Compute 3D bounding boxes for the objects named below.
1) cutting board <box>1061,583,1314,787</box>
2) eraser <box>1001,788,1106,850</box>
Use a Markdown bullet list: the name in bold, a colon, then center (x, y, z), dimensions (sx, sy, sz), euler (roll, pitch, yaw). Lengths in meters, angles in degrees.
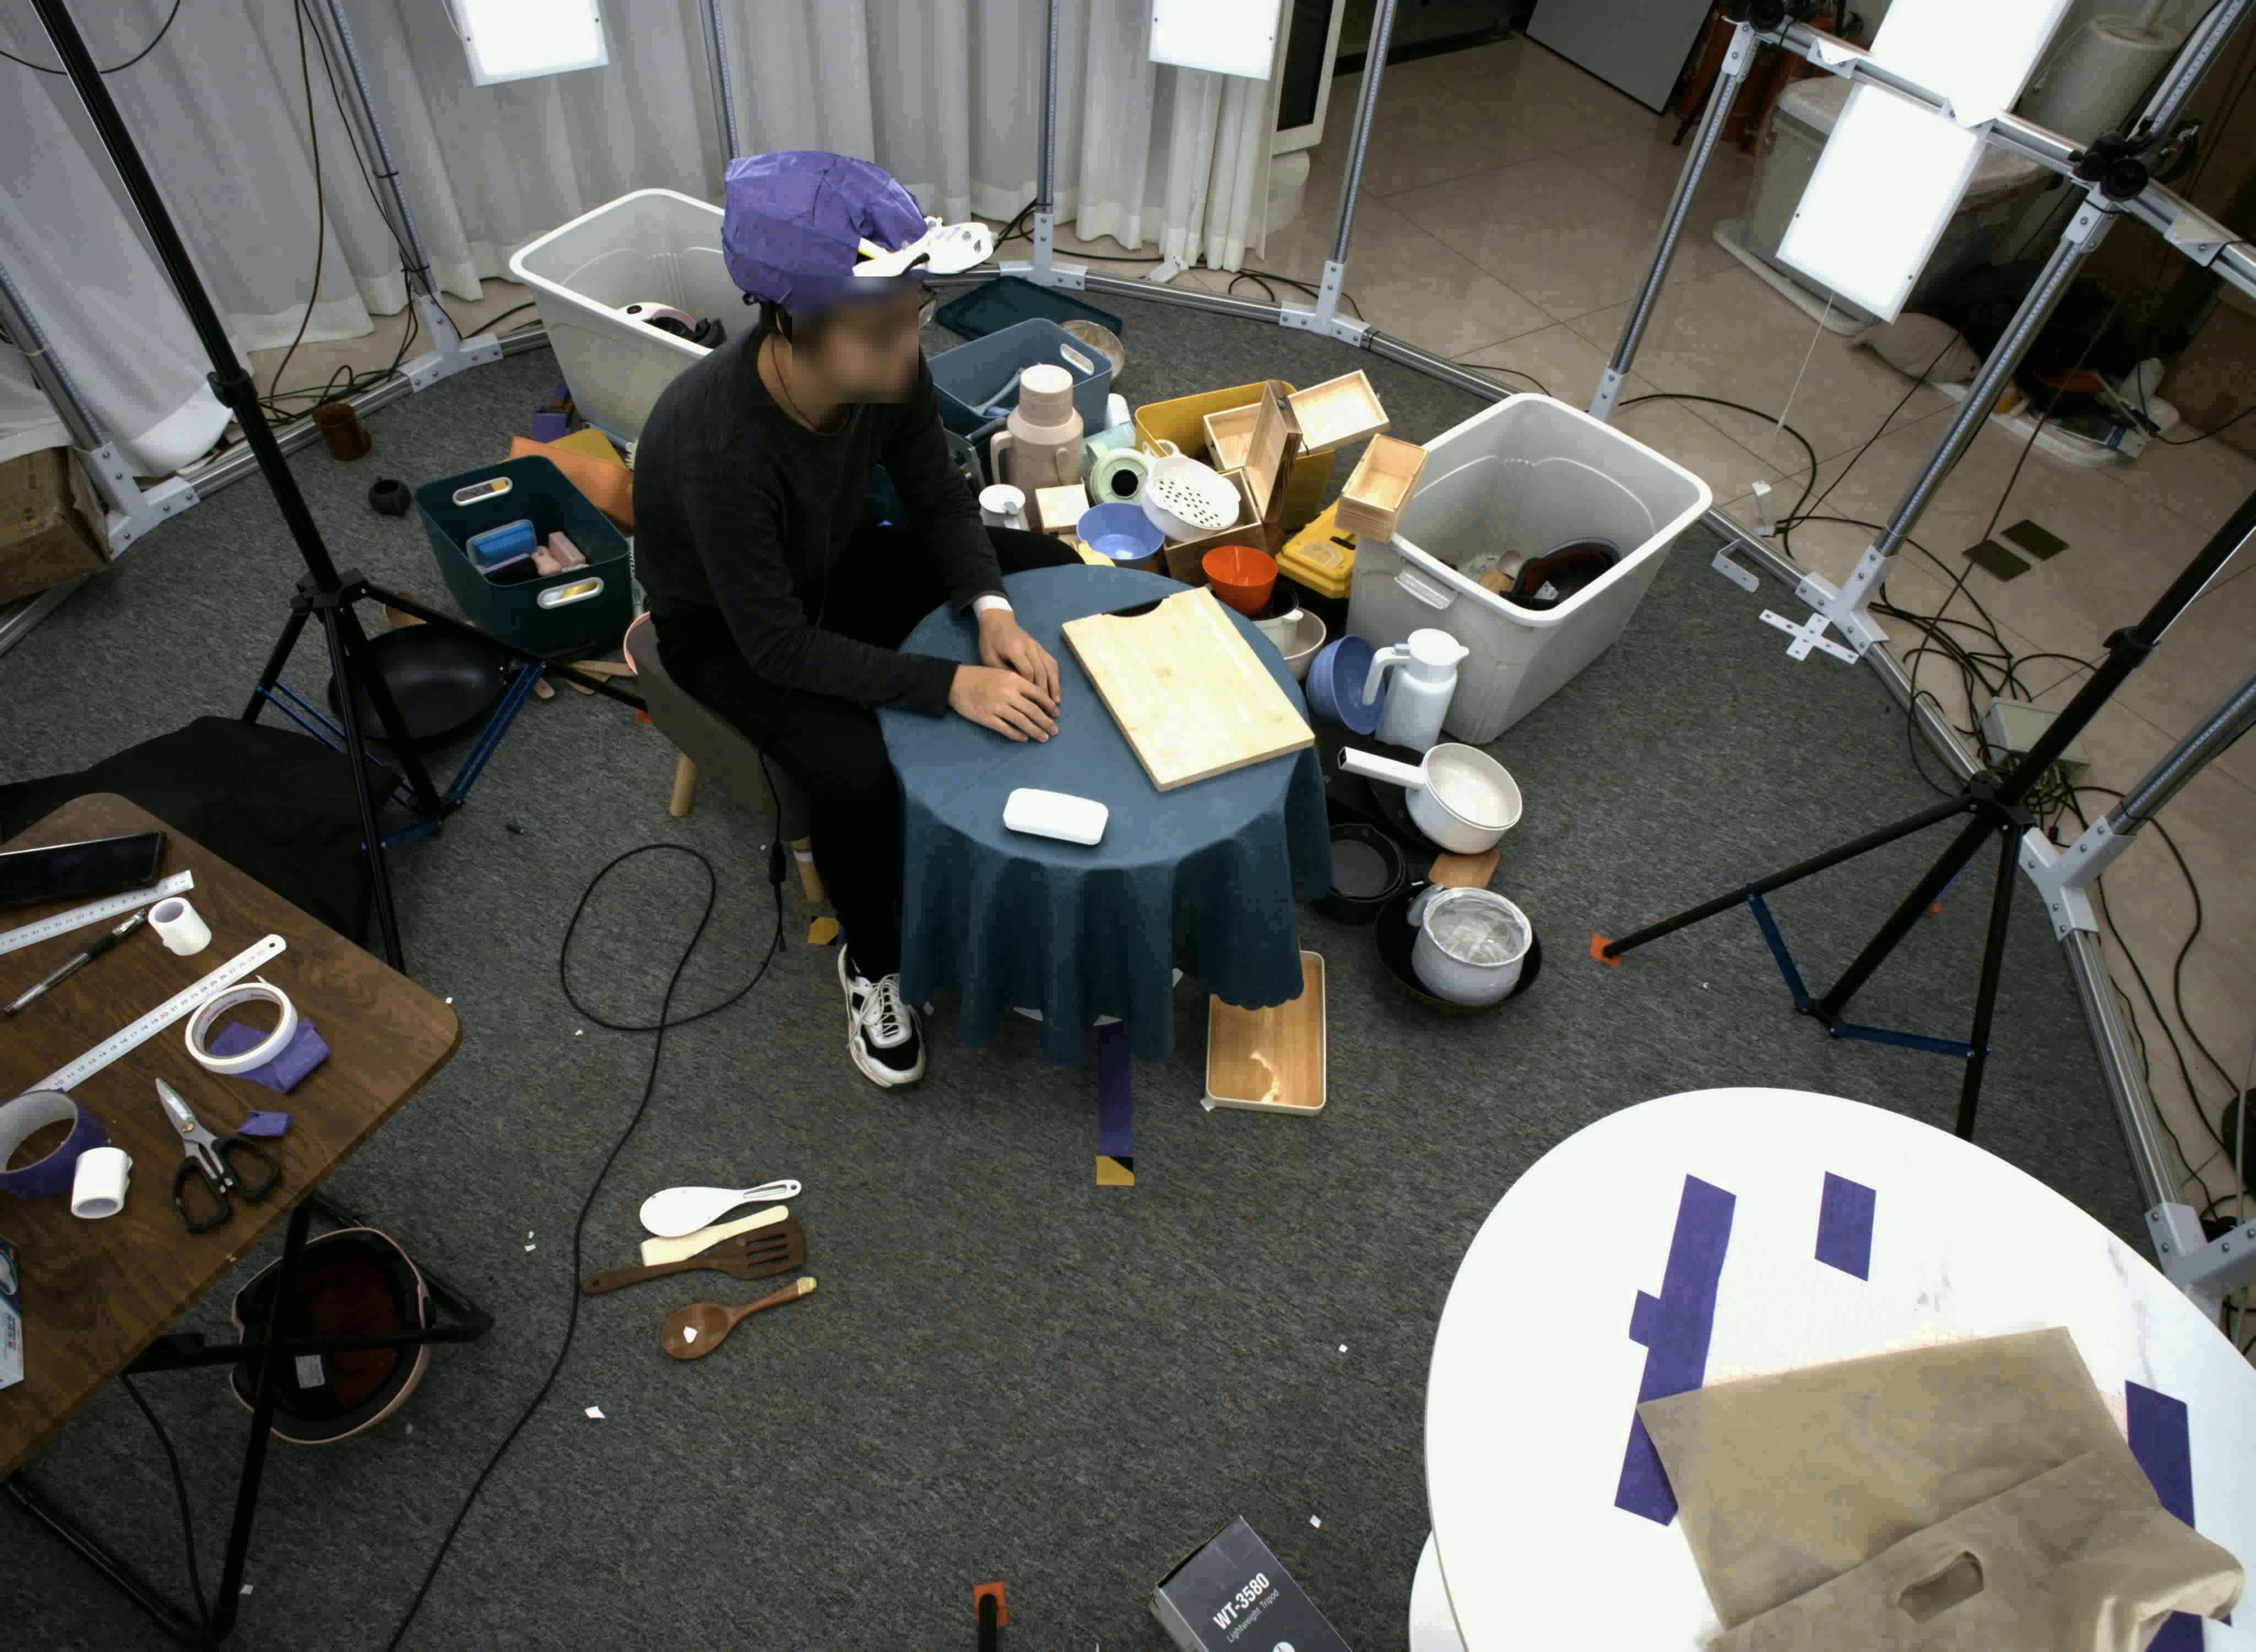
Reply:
- **cutting board**: center (0.079, -0.210, 1.847), dimensions (0.251, 0.023, 0.356), euler (-18, 53, -18)
- **eraser**: center (-0.095, -0.011, 1.654), dimensions (0.131, 0.034, 0.065), euler (12, 50, 5)
